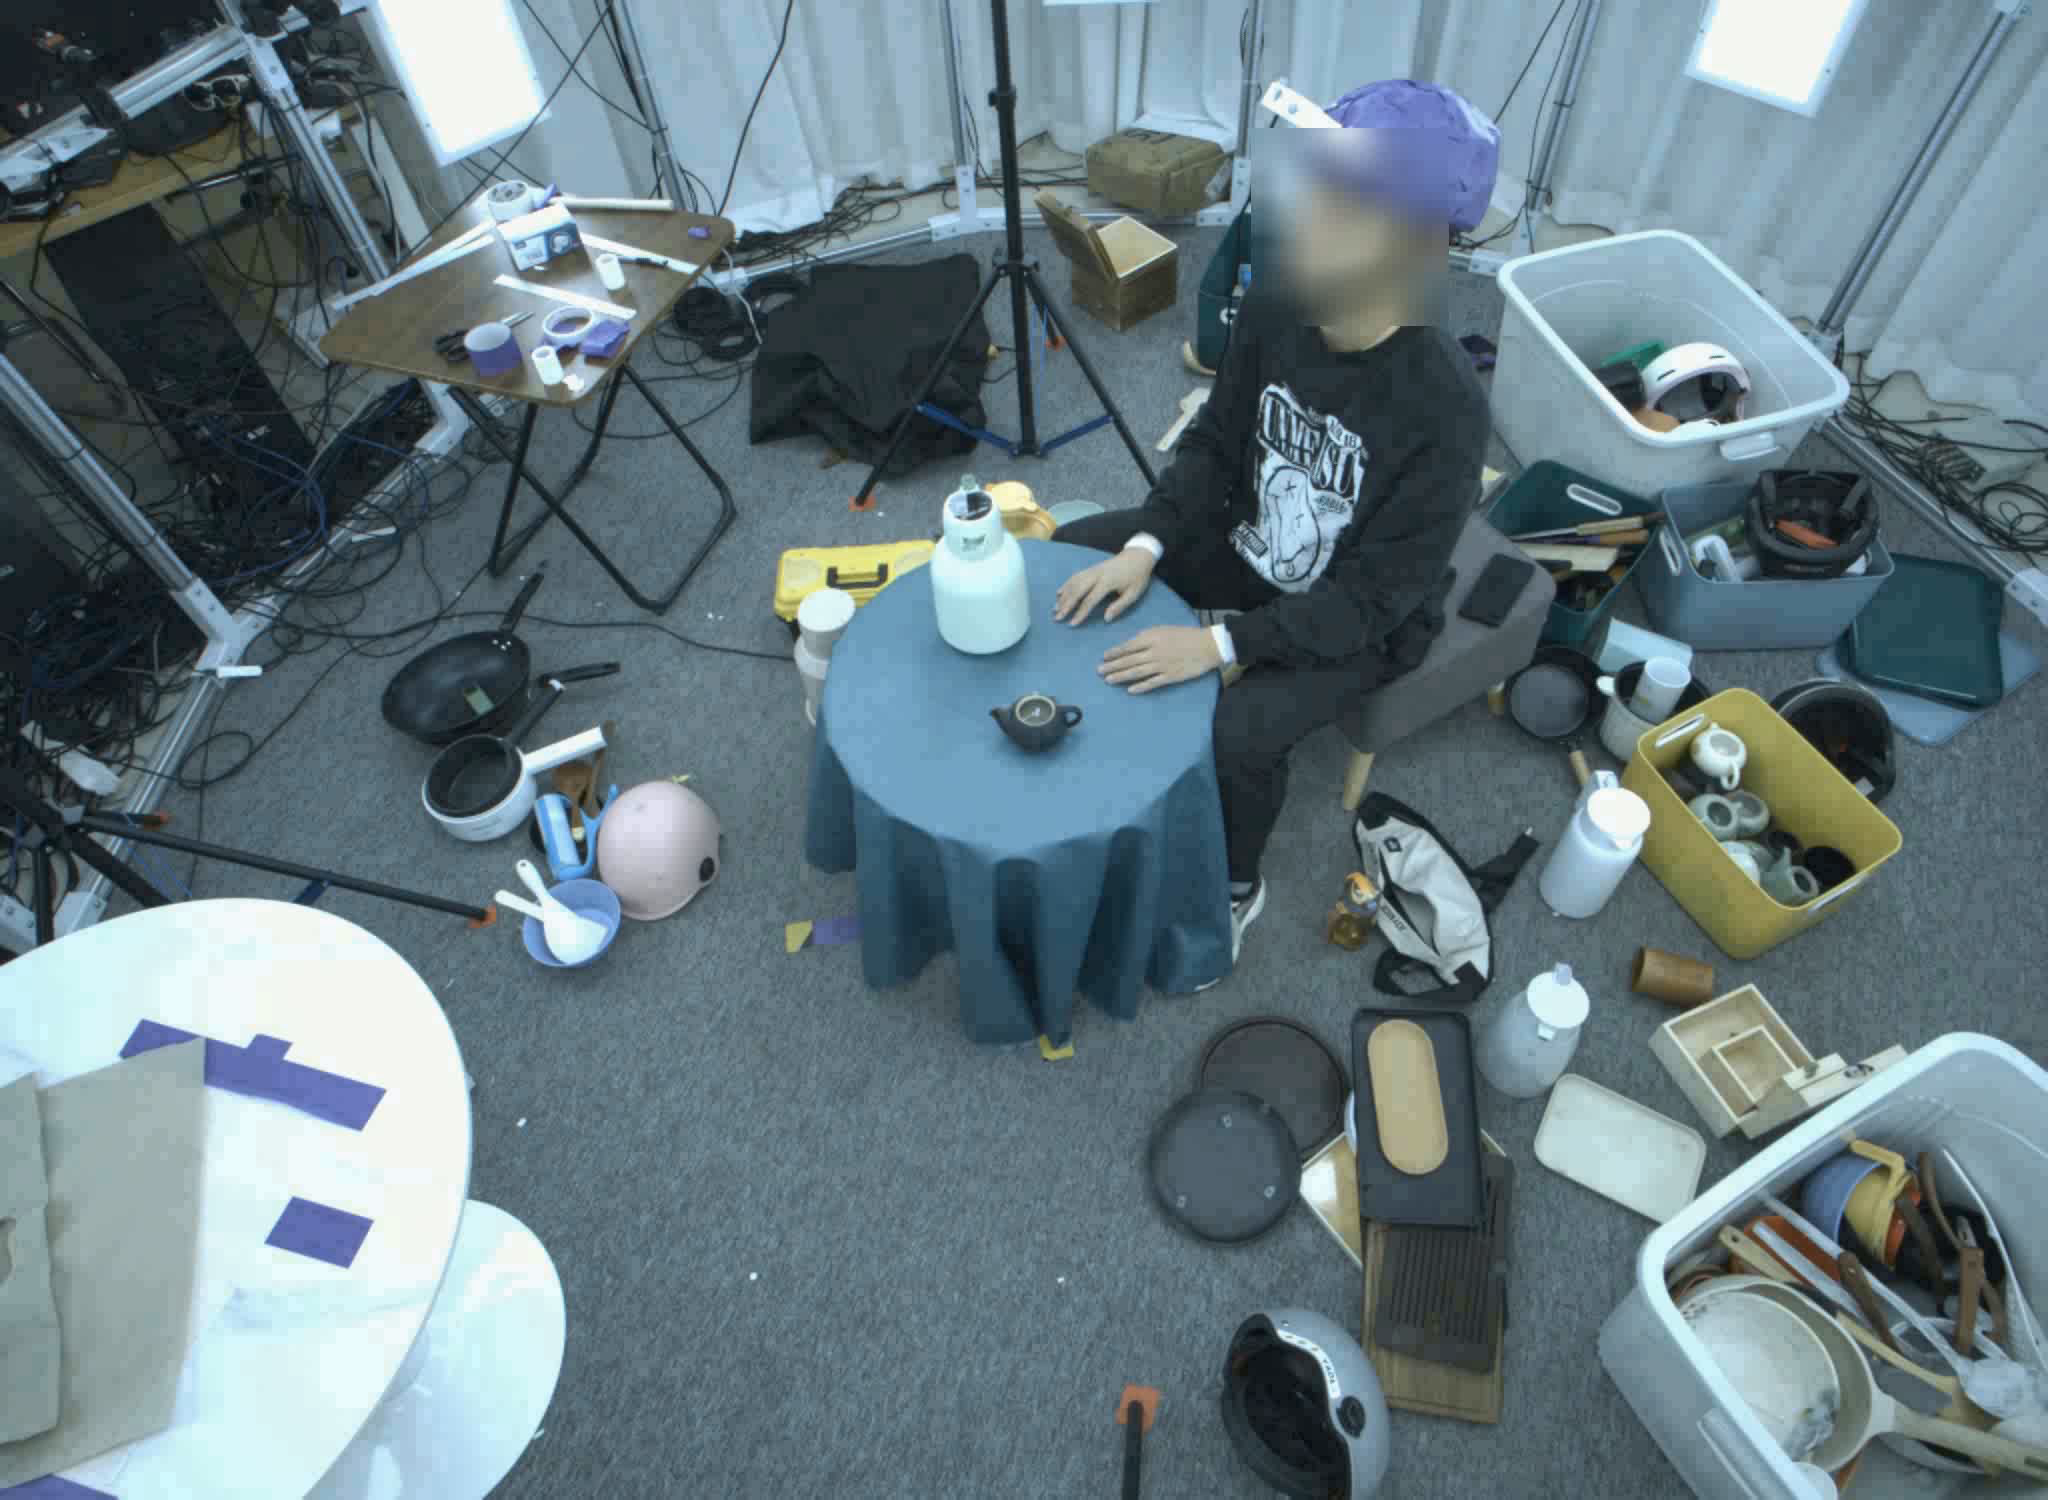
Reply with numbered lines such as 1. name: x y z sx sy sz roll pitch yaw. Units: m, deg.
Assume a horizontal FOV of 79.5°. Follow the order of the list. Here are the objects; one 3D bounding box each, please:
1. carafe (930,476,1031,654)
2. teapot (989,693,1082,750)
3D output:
1. carafe: -0.072 -0.283 1.833 0.144 0.260 0.184 -8 51 -1
2. teapot: 0.017 -0.043 1.780 0.133 0.053 0.090 -3 56 0
